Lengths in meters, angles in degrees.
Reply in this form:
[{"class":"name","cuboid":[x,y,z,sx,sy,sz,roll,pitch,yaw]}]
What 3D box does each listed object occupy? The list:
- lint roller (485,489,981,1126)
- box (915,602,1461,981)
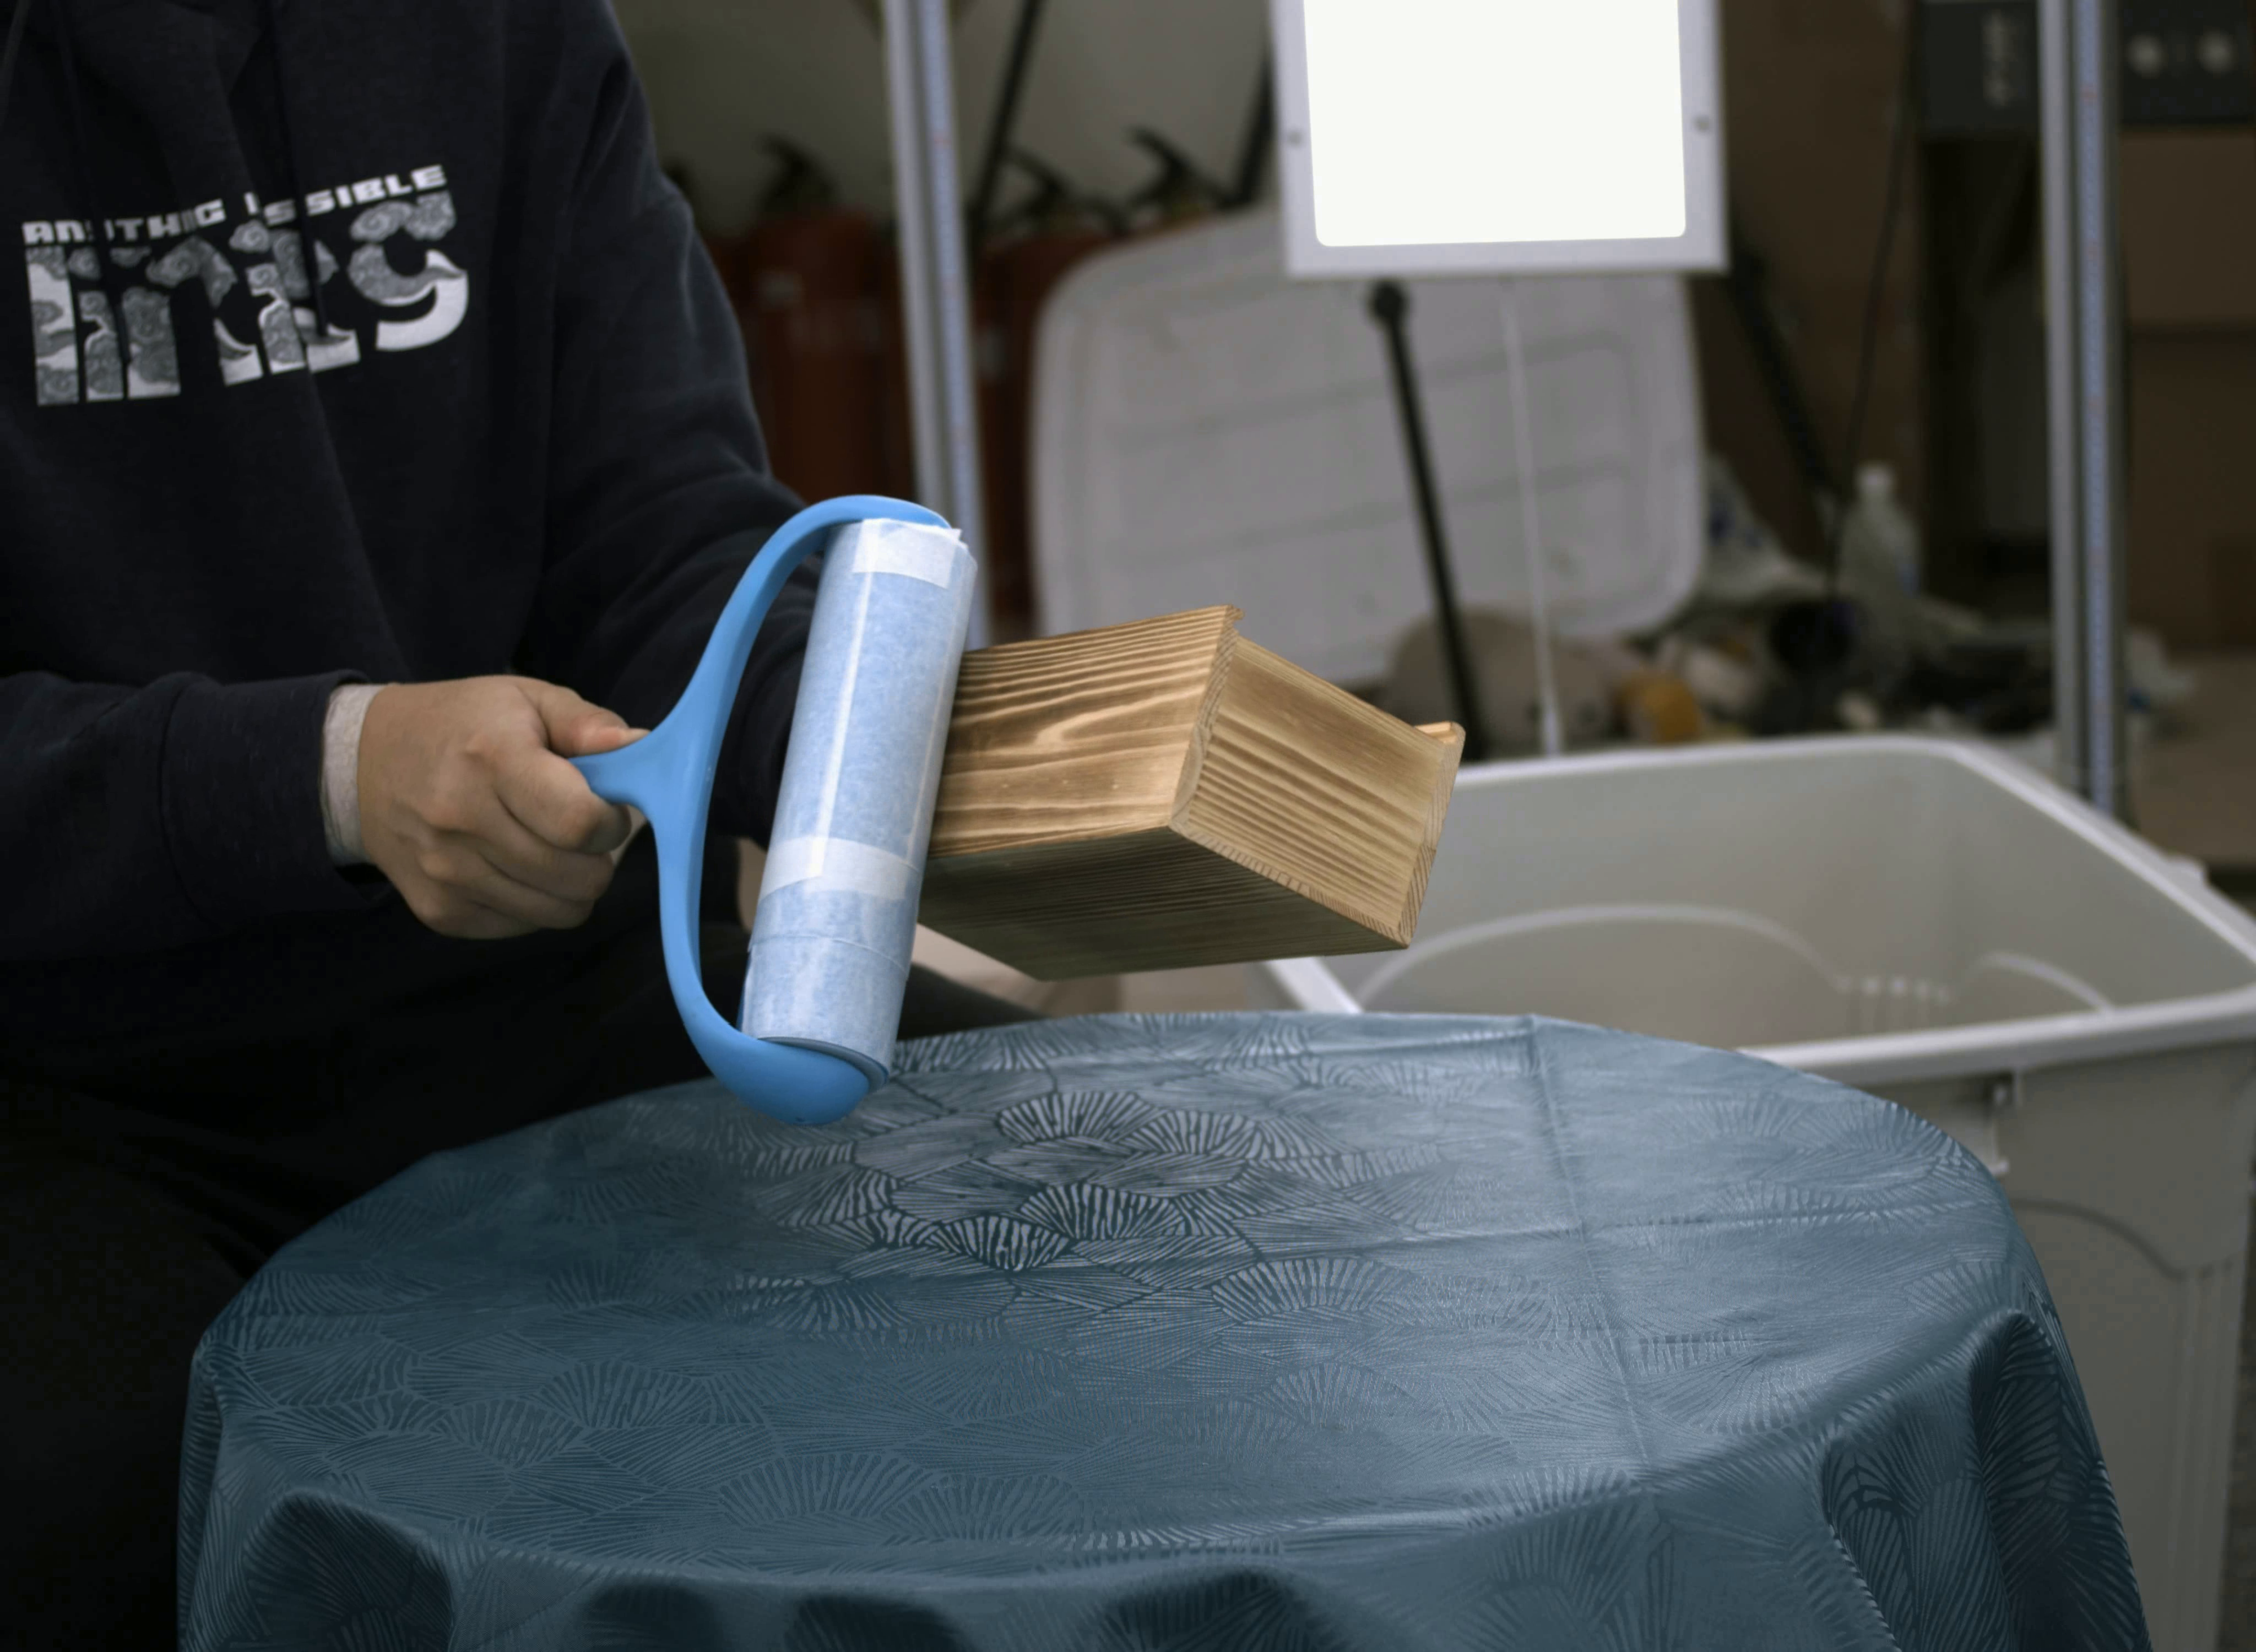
[{"class":"lint roller","cuboid":[-0.148,-0.007,1.879,0.182,0.228,0.067,-1,-23,20]},{"class":"box","cuboid":[0.000,-0.008,1.869,0.105,0.080,0.216,26,-19,-31]}]
